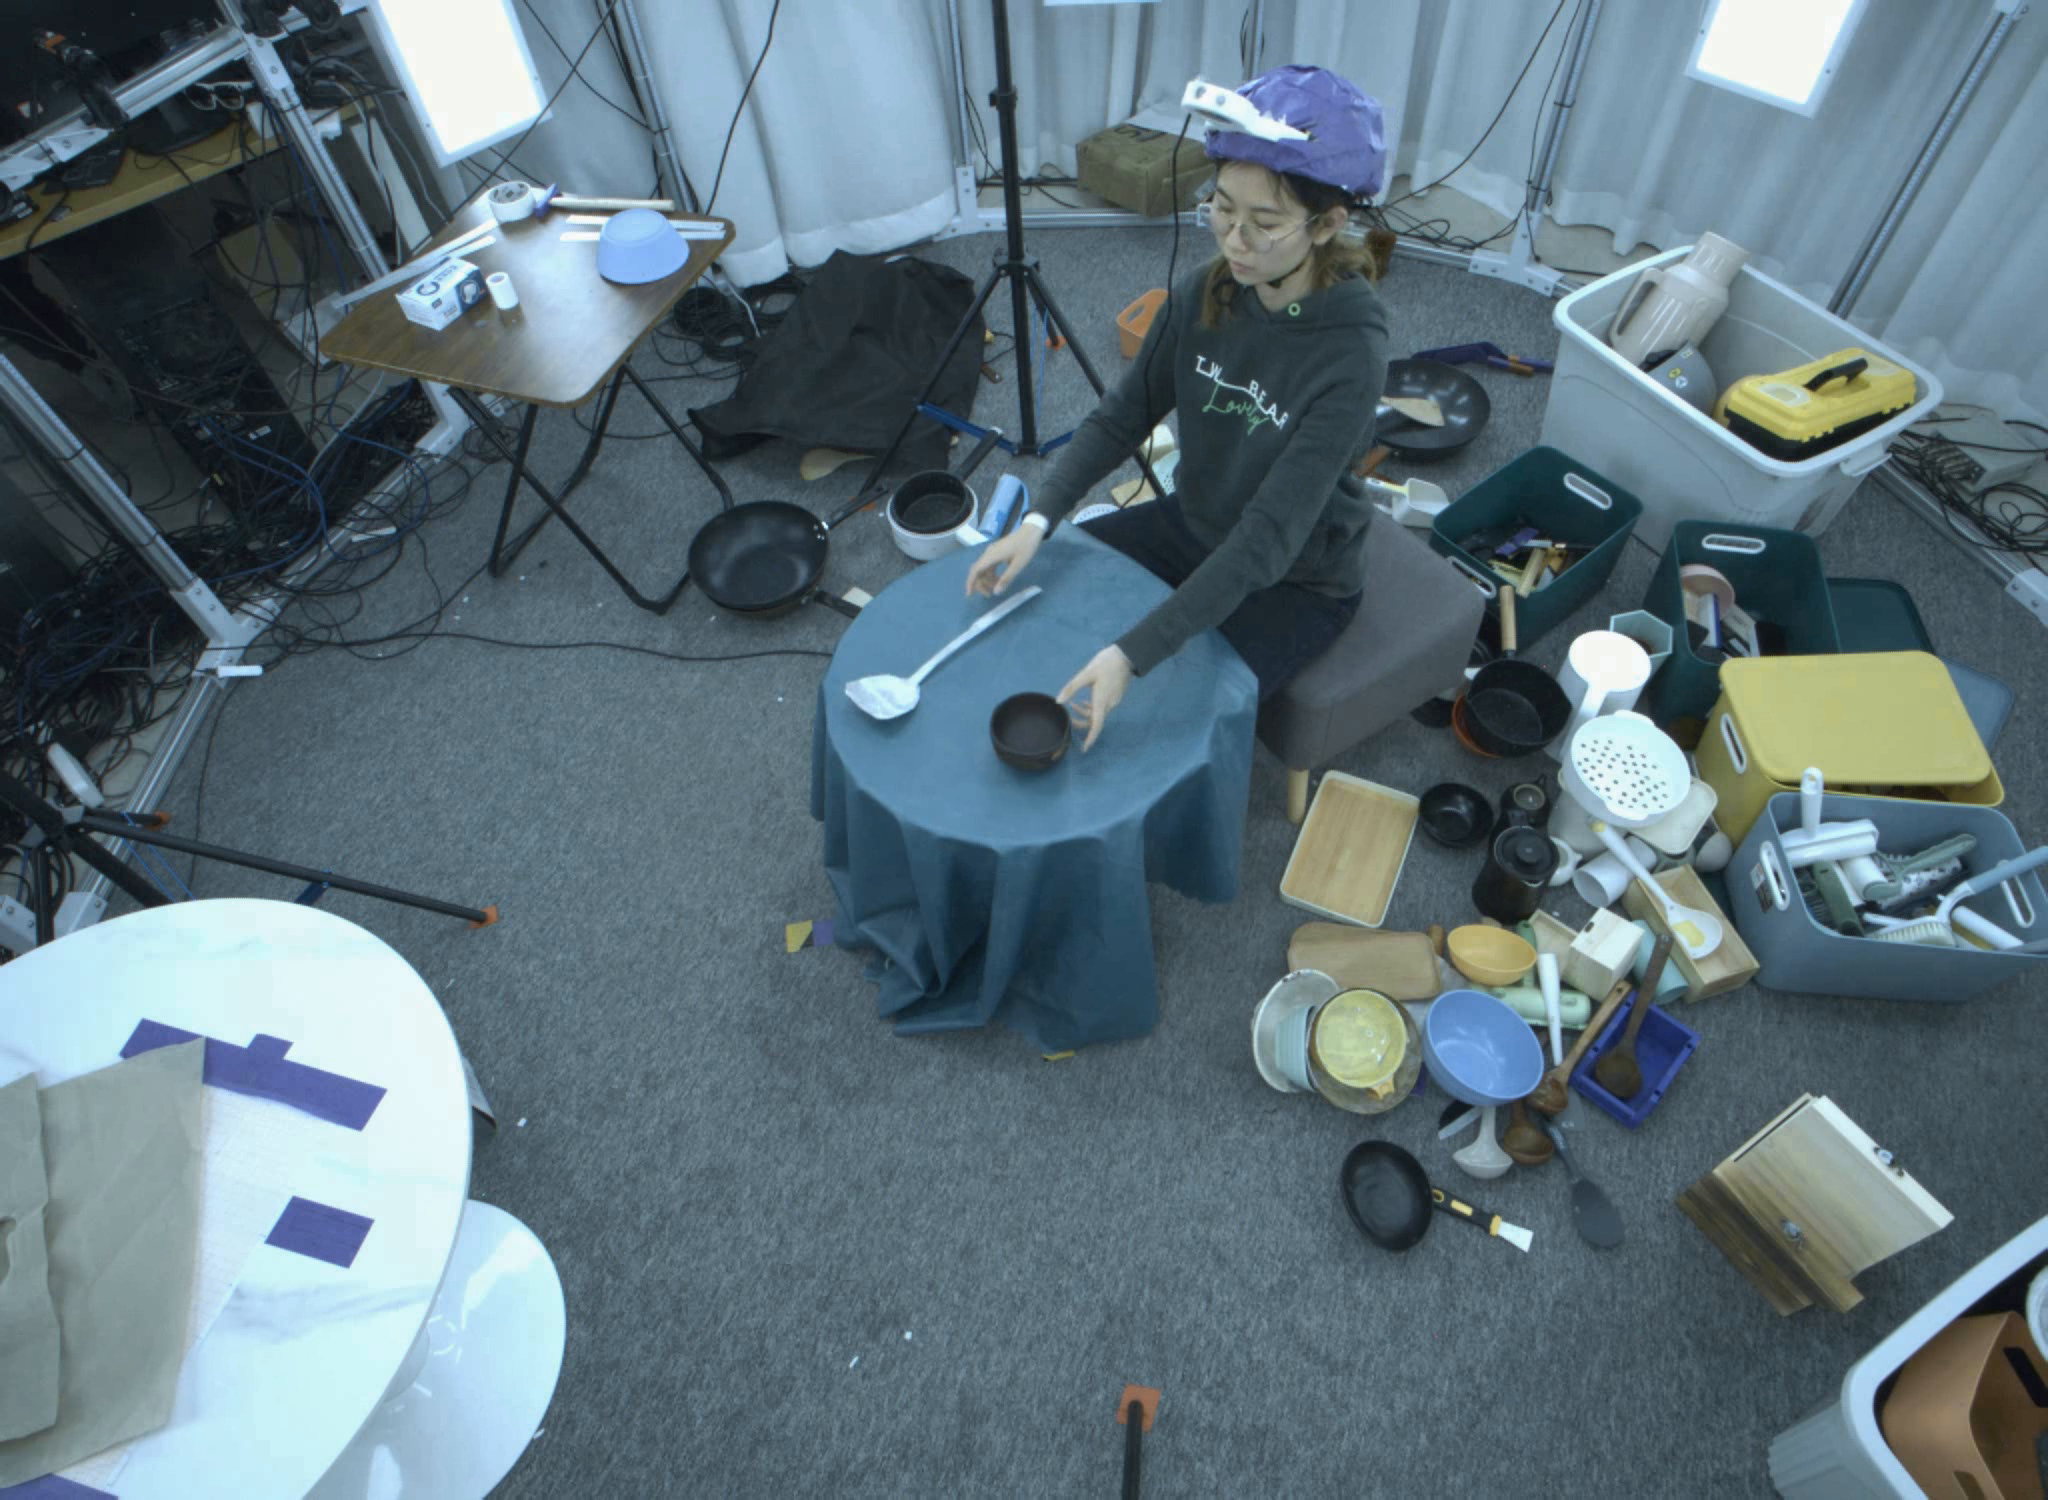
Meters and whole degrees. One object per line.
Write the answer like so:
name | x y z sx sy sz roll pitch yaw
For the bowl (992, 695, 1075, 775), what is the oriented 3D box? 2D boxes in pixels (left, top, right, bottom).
bowl | 0.014 -0.014 1.764 0.118 0.070 0.117 1 54 0

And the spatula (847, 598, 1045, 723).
spatula | -0.108 -0.152 1.884 0.367 0.045 0.097 -39 60 -22
